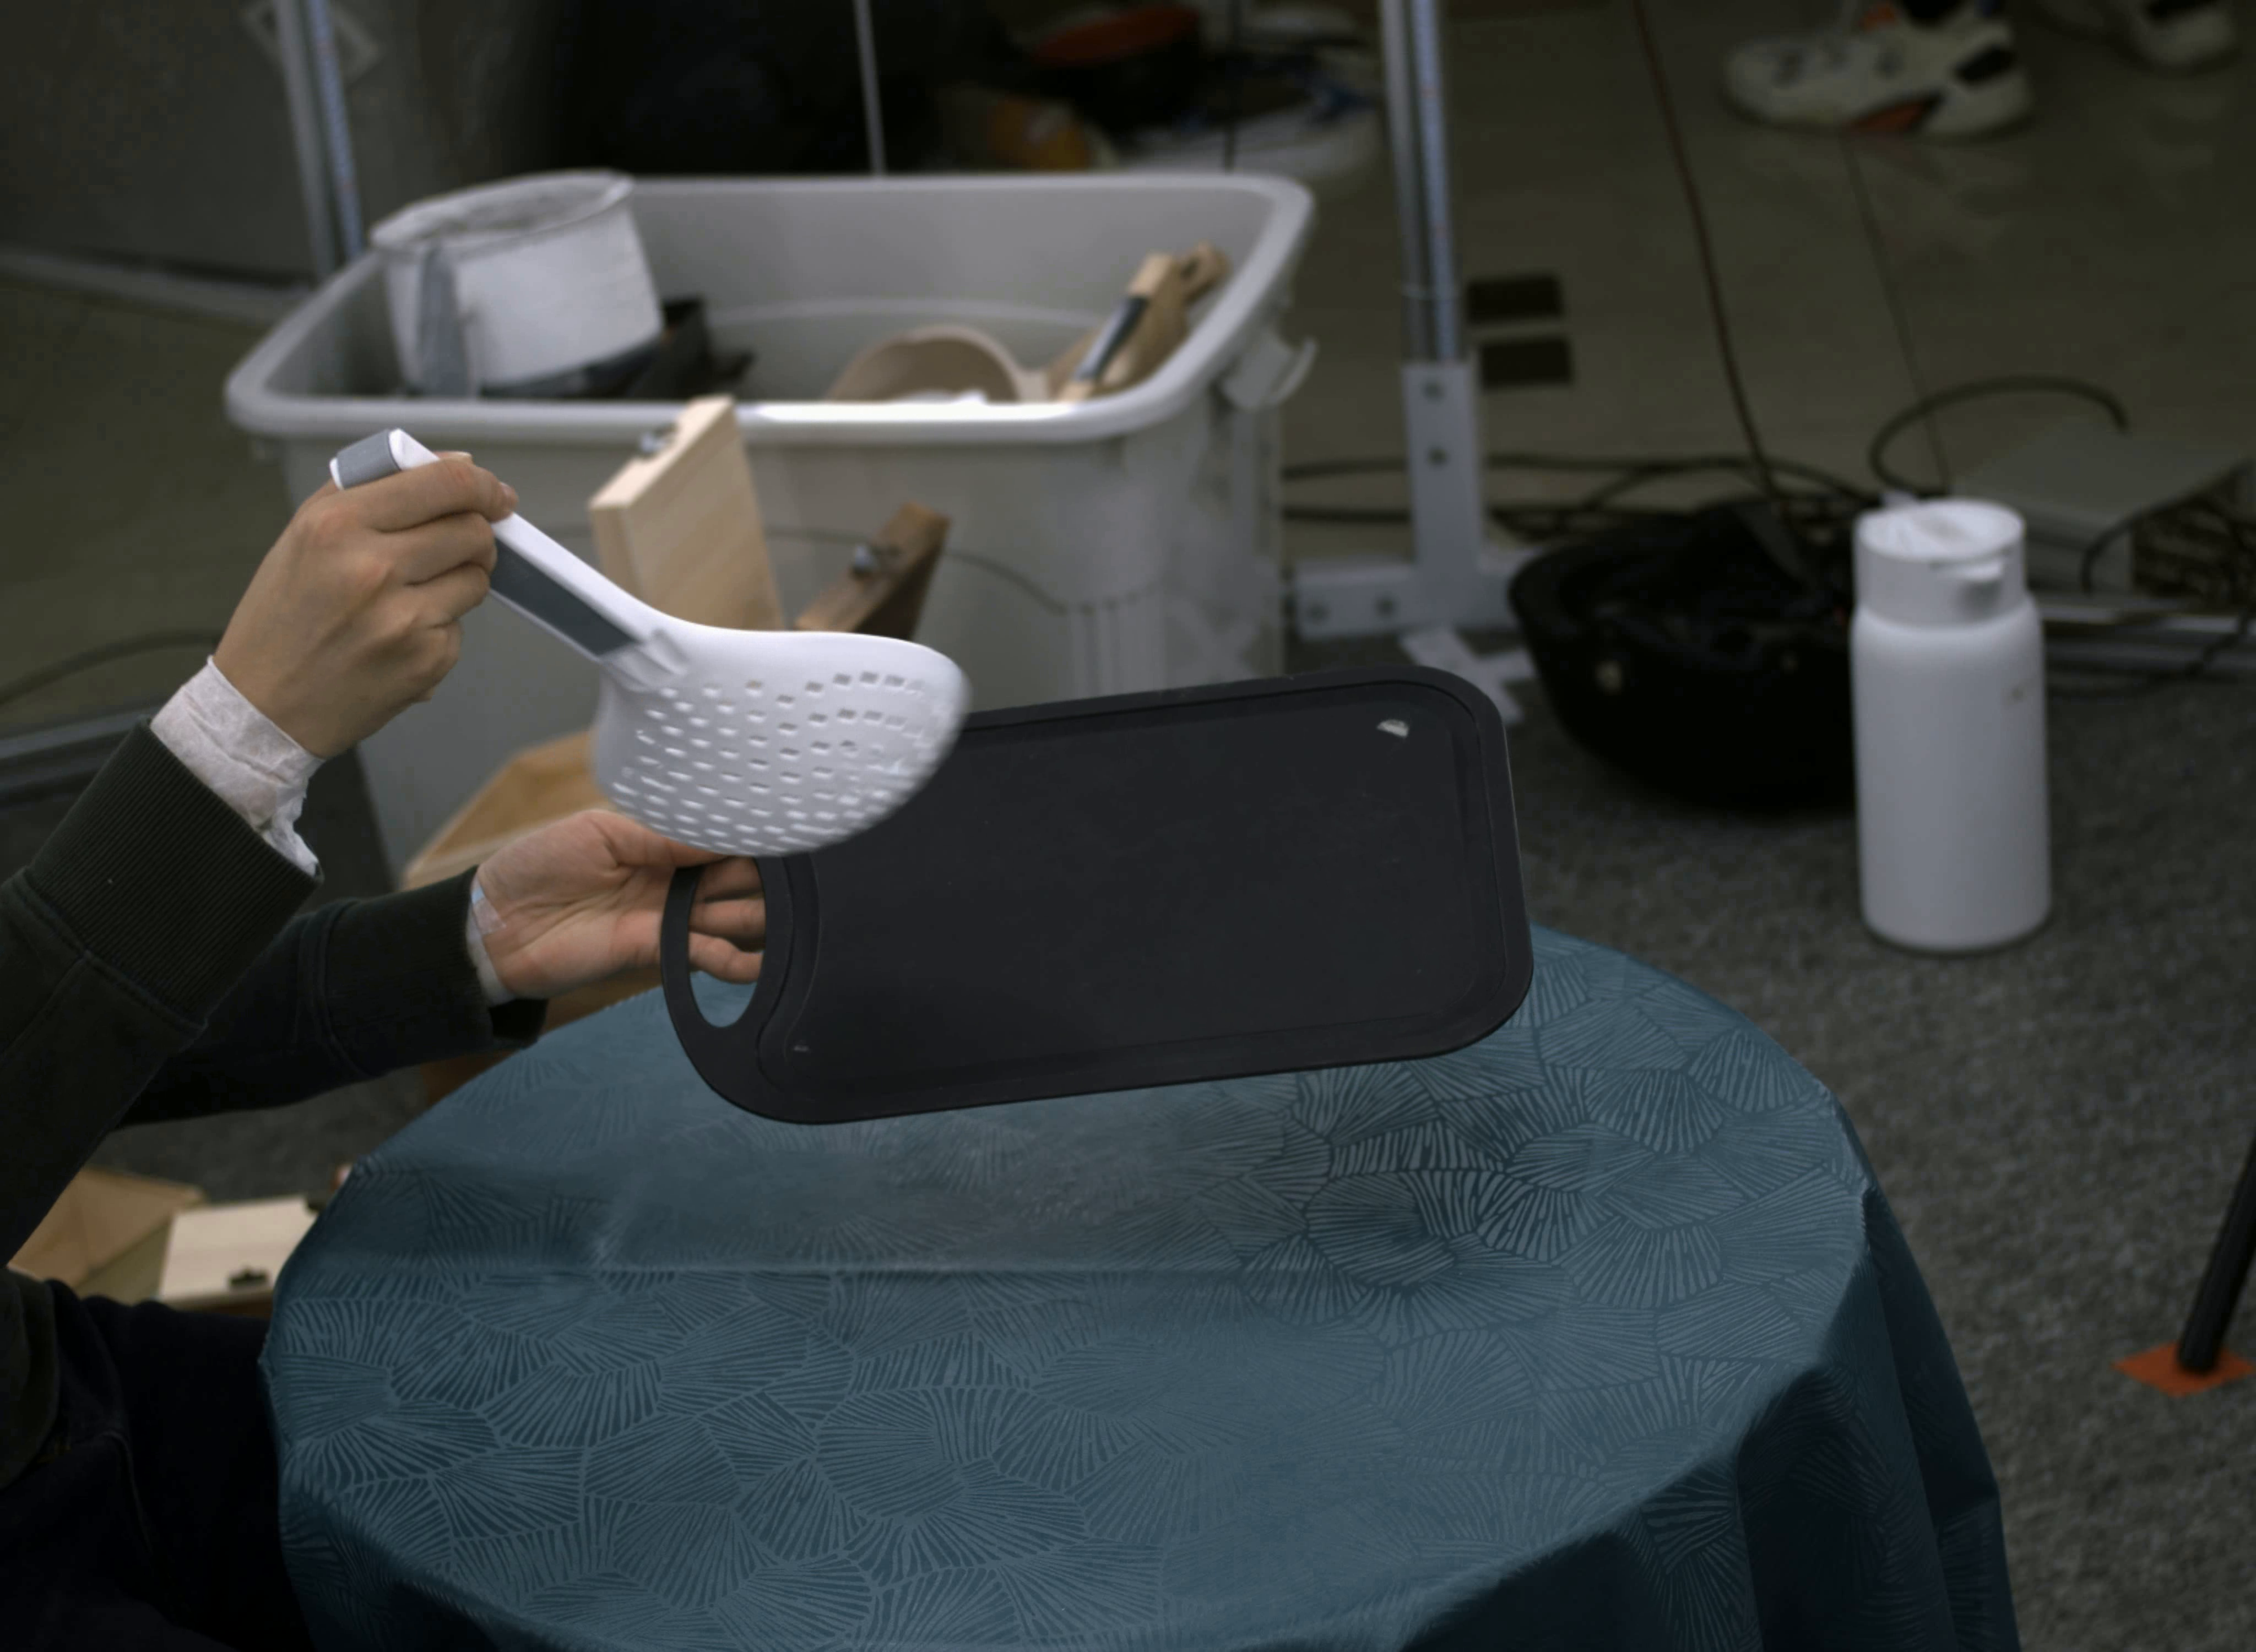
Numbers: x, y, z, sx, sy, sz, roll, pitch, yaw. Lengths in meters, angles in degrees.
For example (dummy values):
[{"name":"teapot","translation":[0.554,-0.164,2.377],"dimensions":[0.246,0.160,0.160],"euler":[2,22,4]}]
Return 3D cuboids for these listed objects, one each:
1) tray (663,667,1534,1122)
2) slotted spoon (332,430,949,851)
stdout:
[{"name":"tray","translation":[-0.014,0.023,2.116],"dimensions":[0.325,0.010,0.207],"euler":[-6,45,4]},{"name":"slotted spoon","translation":[-0.170,-0.063,1.930],"dimensions":[0.136,0.354,0.045],"euler":[-25,59,15]}]
